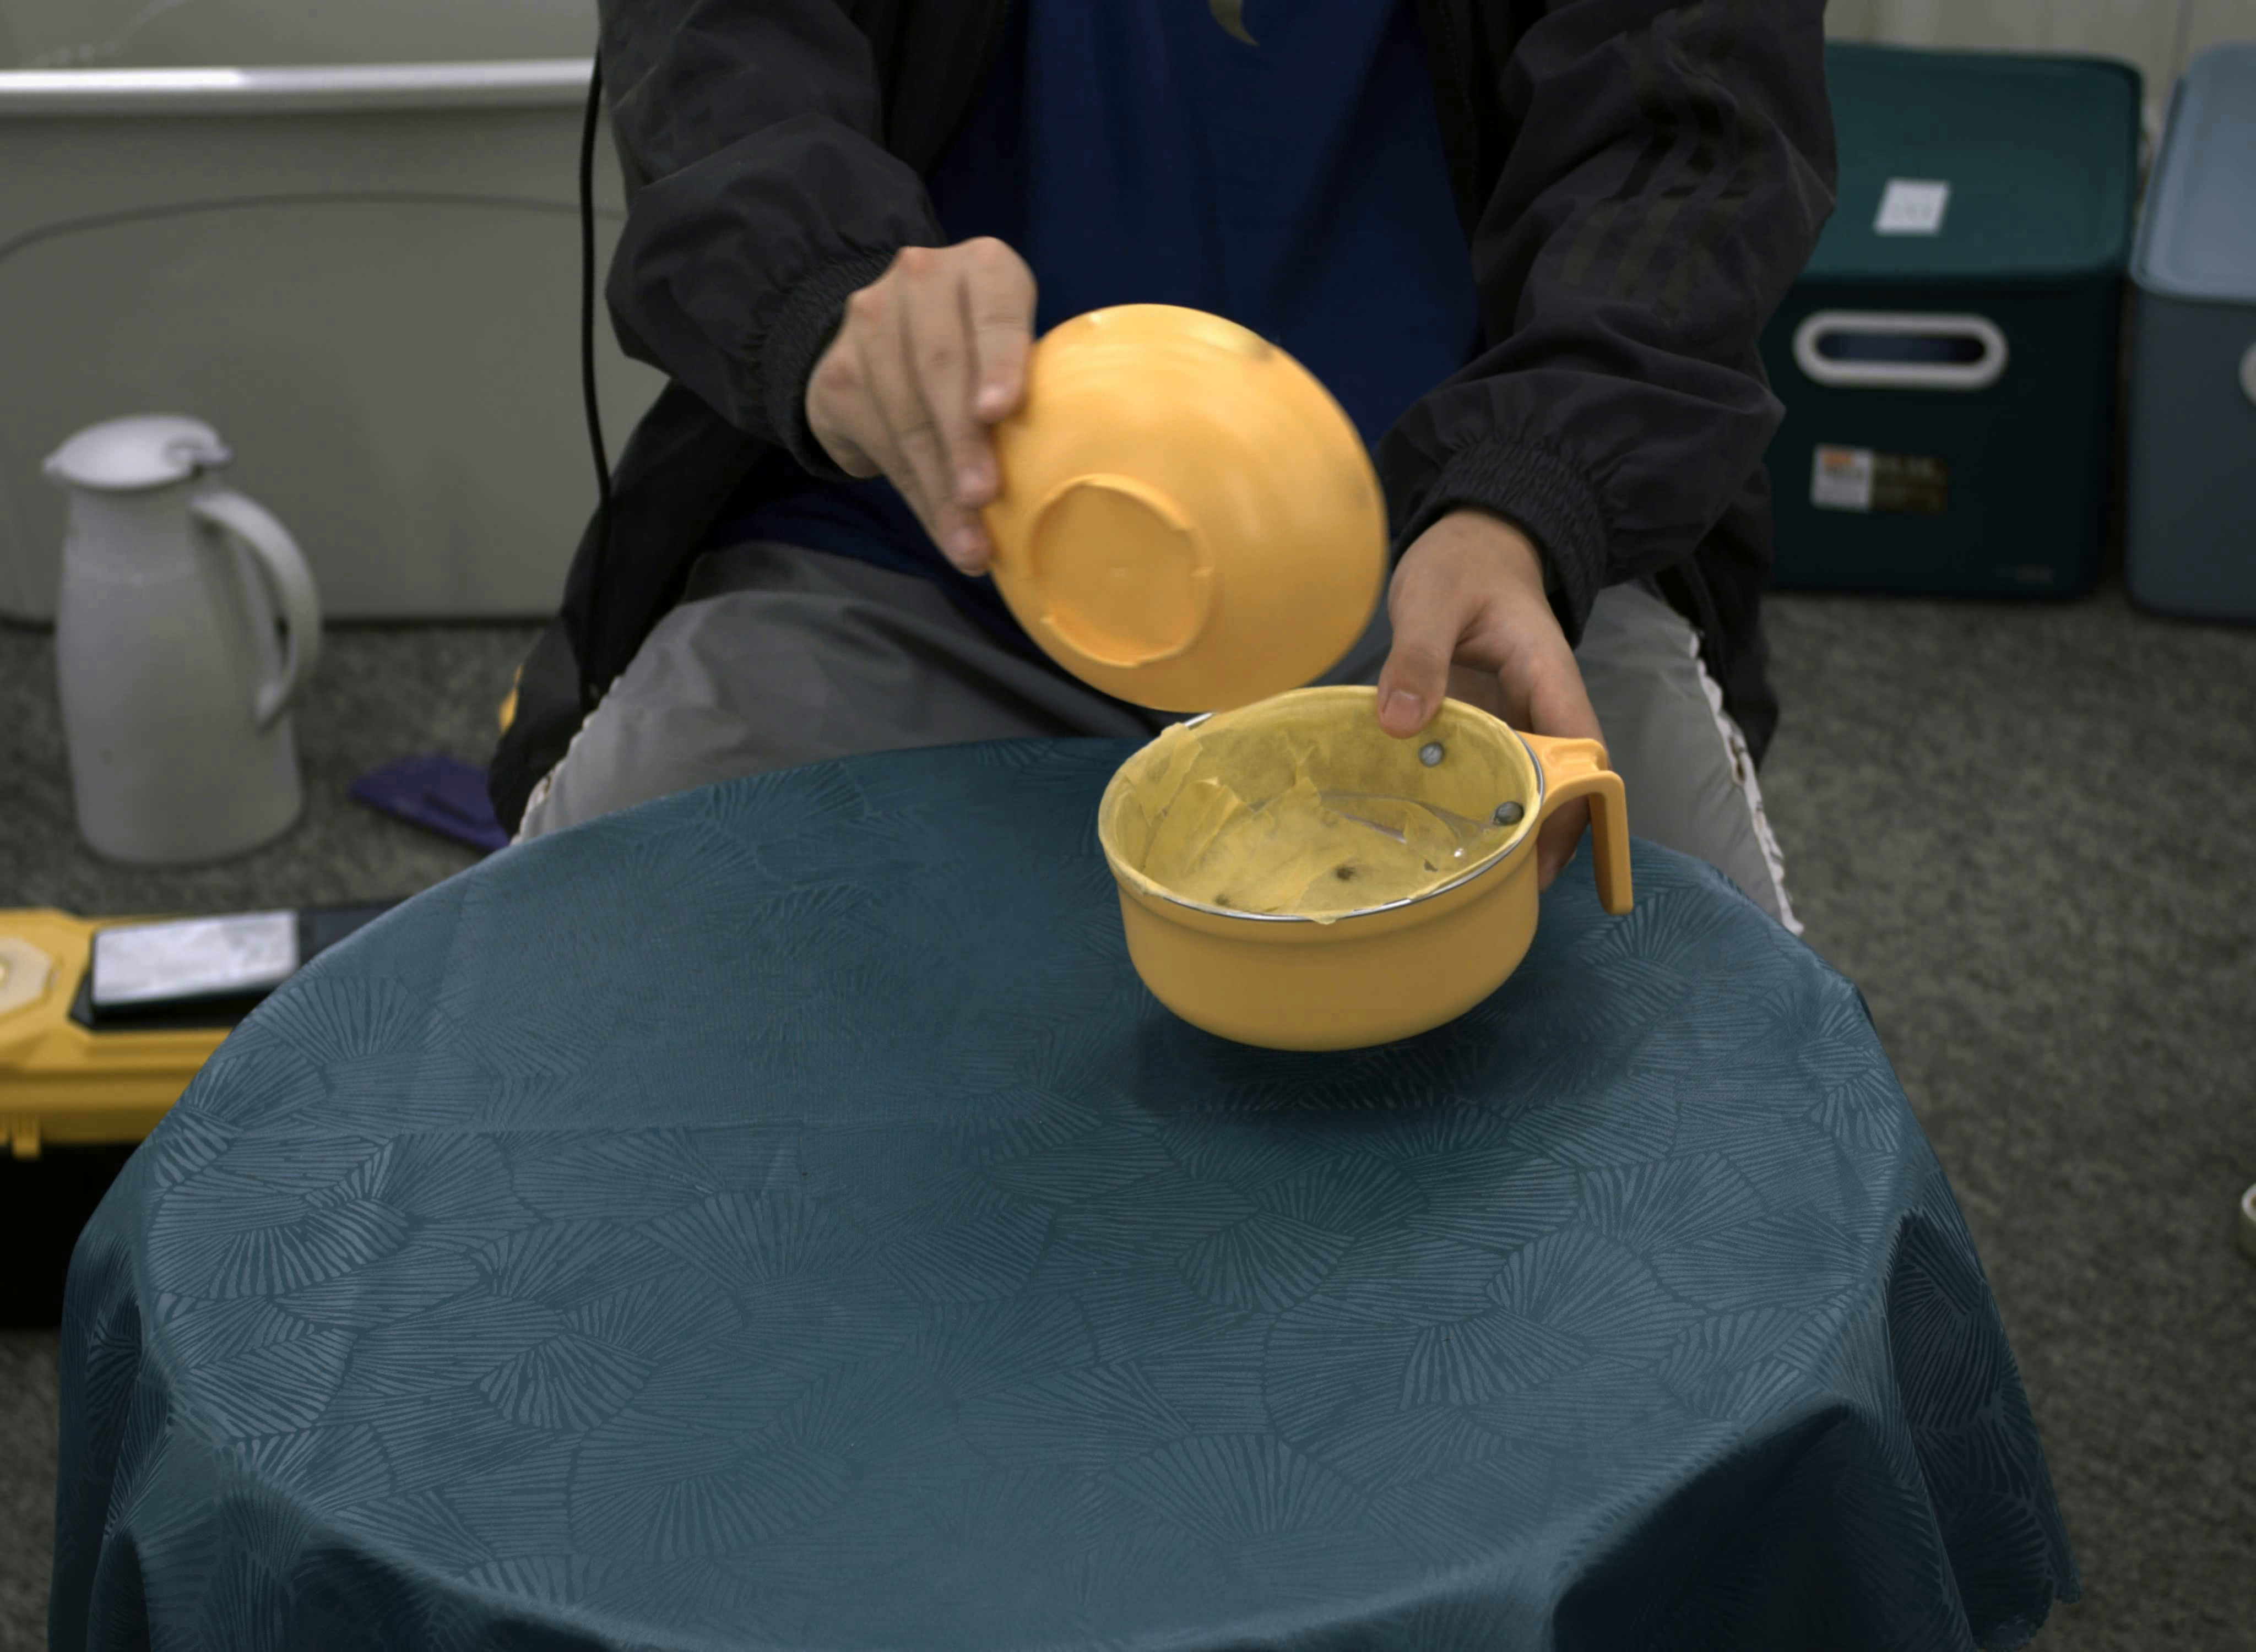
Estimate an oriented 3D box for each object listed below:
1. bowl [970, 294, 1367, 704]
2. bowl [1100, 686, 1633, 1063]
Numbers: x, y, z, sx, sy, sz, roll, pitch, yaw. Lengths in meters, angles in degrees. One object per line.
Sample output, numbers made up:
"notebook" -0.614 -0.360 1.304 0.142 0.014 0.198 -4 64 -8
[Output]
"bowl" 0.002 -0.096 1.847 0.144 0.144 0.061 11 31 25
"bowl" 0.082 0.018 1.915 0.179 0.073 0.154 -14 30 -10
